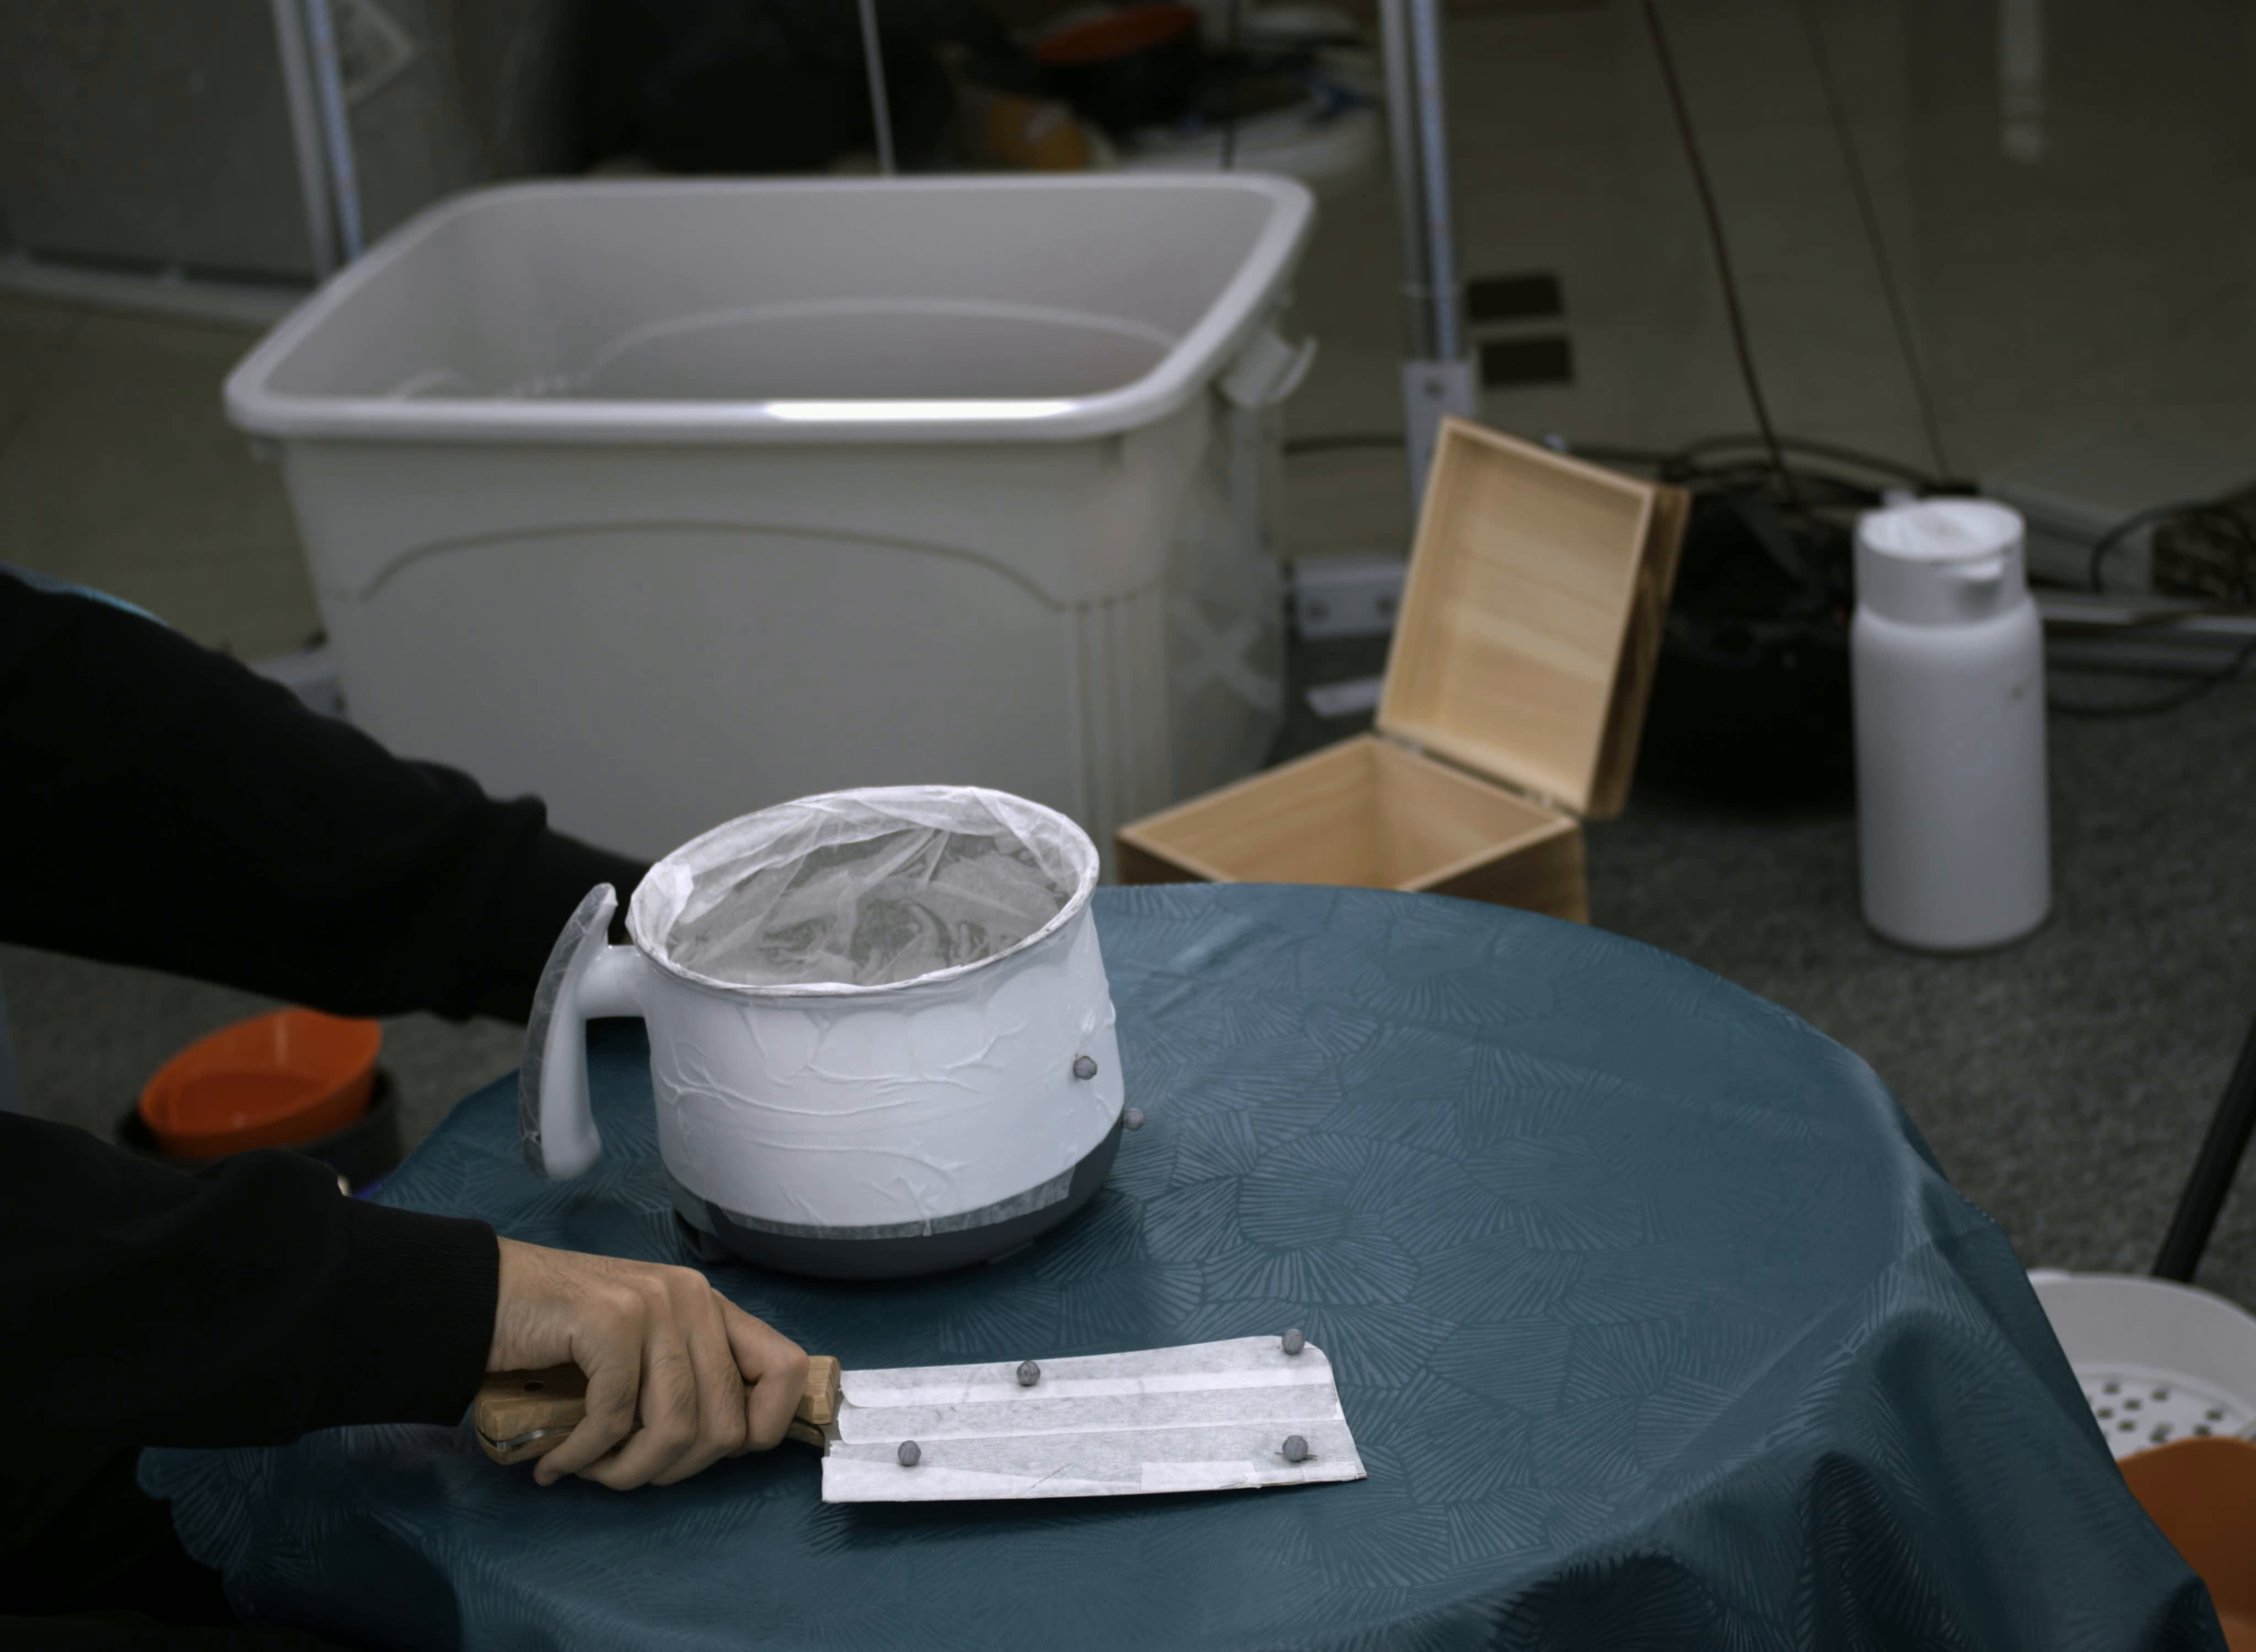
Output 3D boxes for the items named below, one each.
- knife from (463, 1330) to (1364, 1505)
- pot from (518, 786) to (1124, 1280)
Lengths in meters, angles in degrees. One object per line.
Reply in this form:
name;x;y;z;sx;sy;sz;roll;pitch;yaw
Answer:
knife;-0.076;0.207;1.987;0.315;0.022;0.112;-1;25;1
pot;-0.119;0.080;2.136;0.233;0.139;0.176;-2;25;7
